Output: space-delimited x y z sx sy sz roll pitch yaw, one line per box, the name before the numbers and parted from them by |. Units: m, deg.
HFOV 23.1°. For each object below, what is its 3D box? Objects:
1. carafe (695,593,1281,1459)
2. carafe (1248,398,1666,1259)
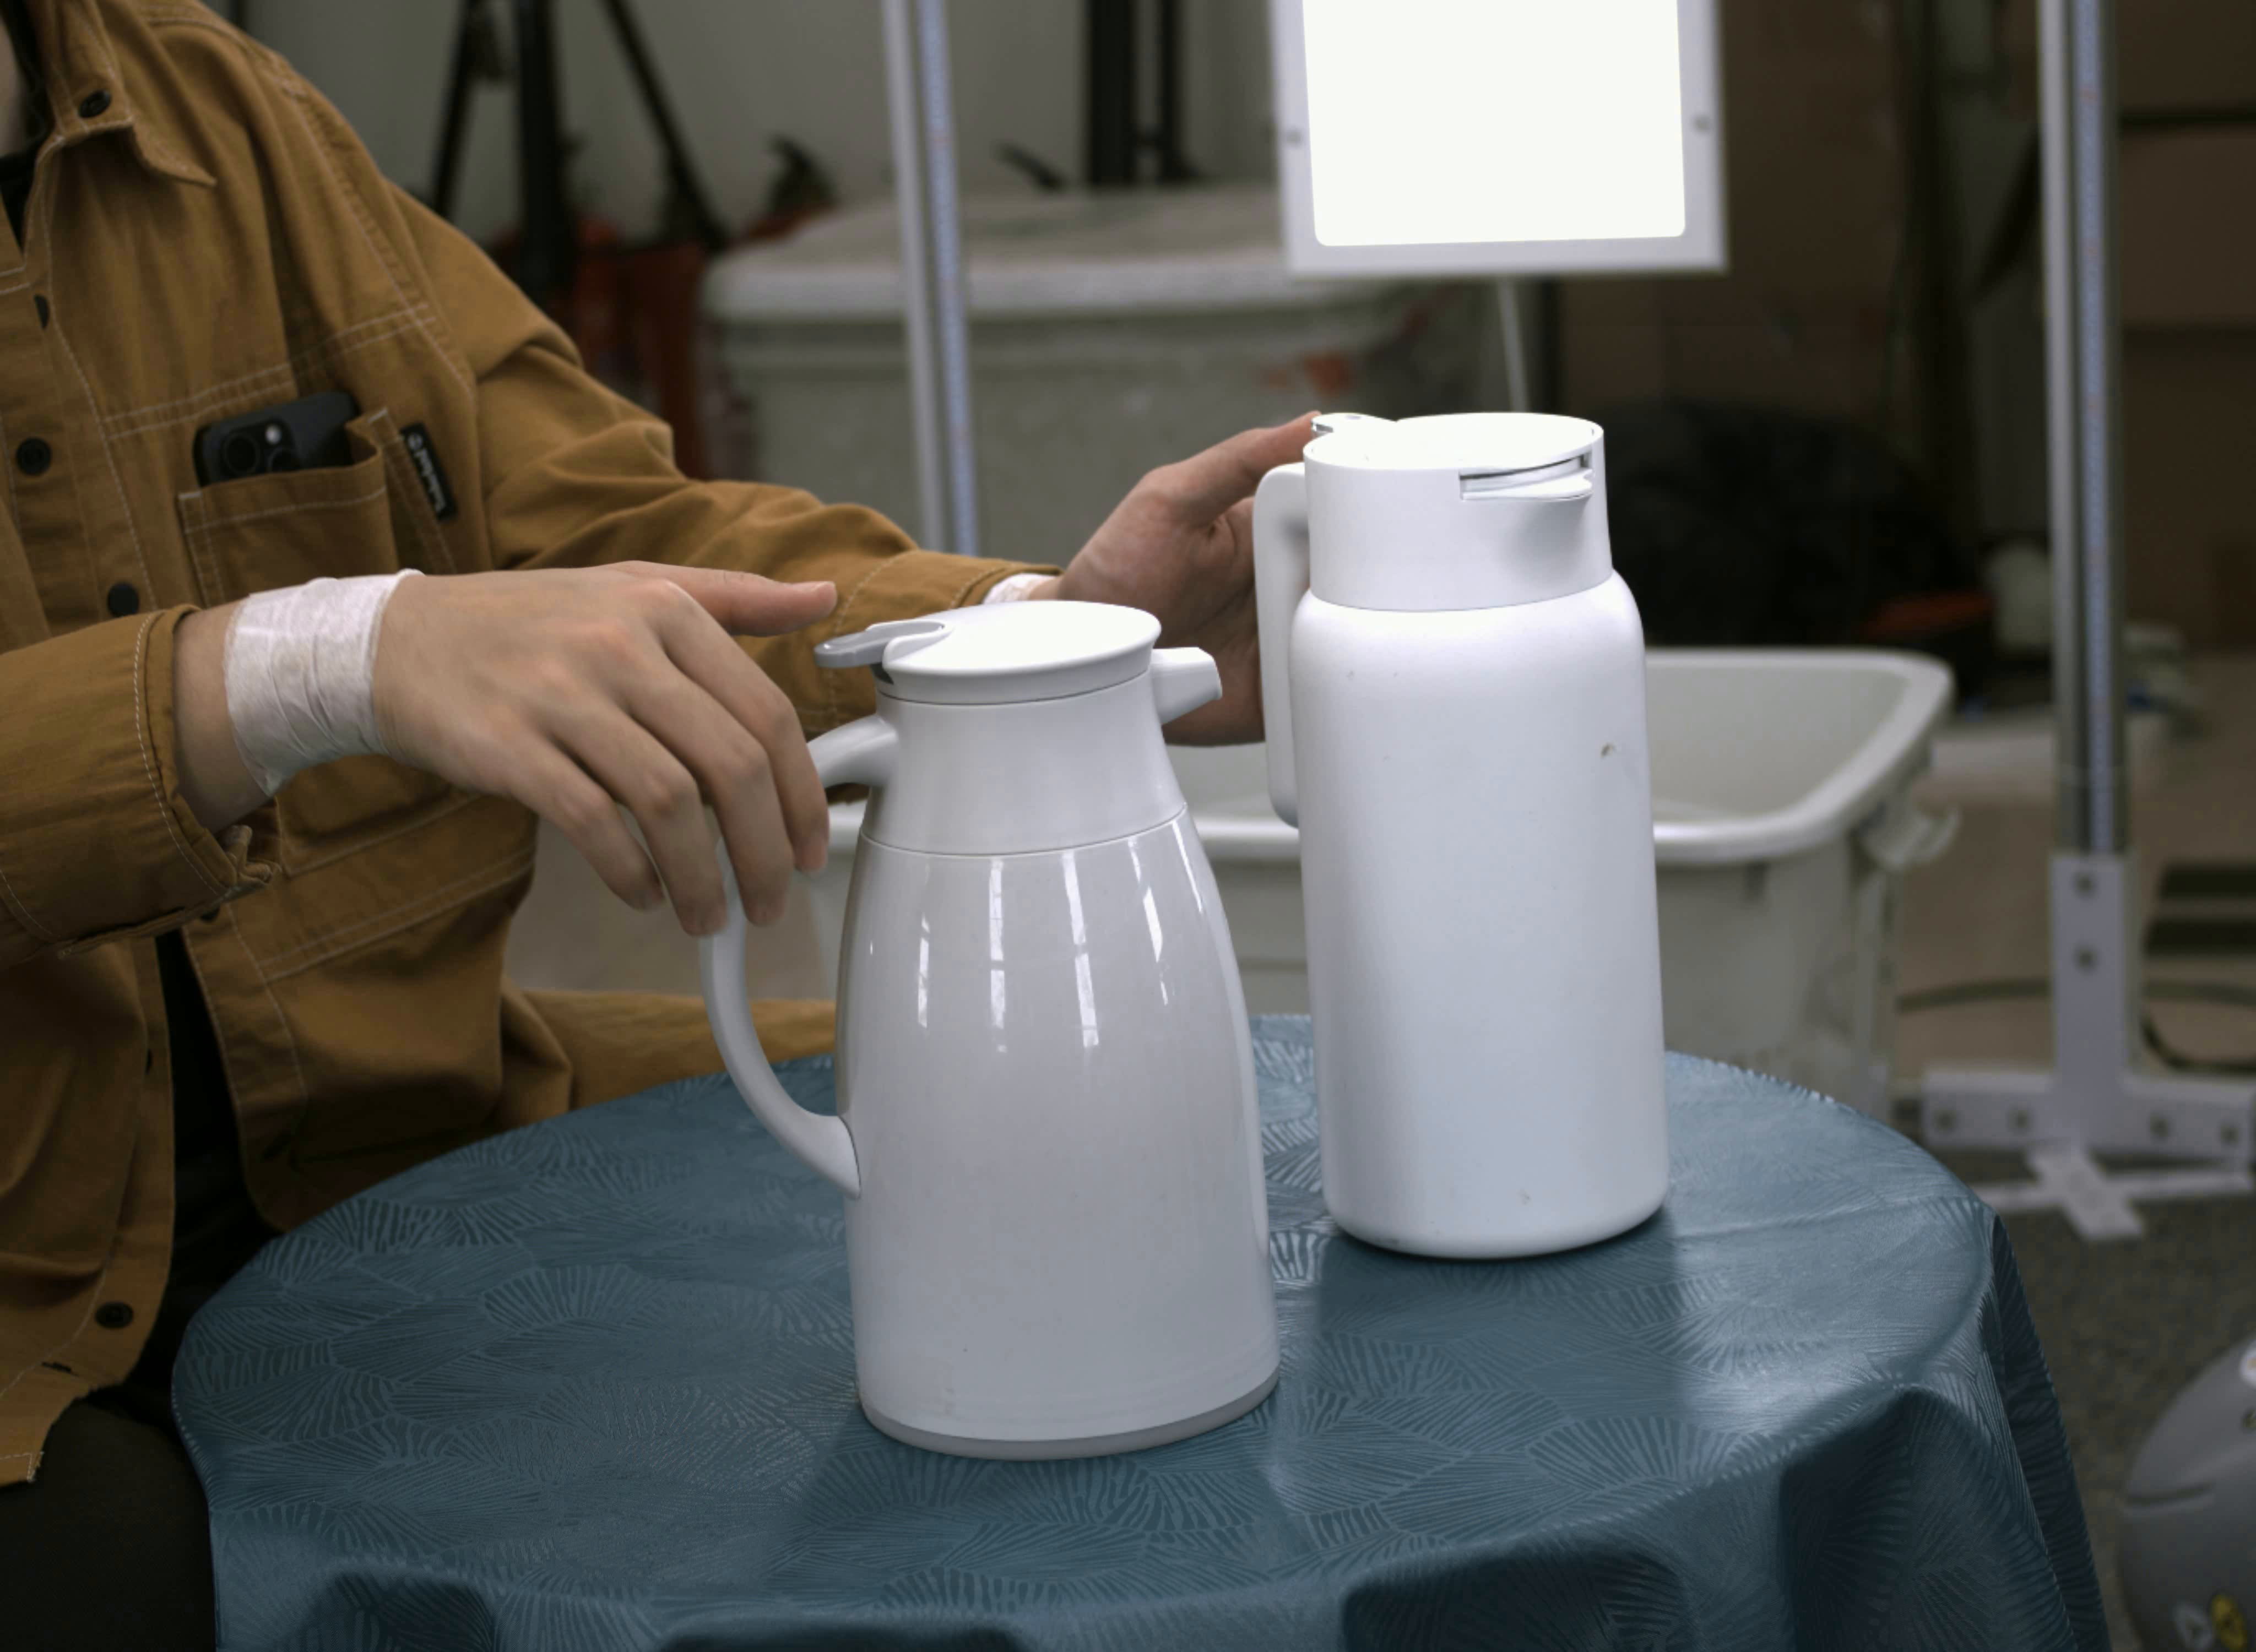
carafe | -0.046 0.057 1.676 0.165 0.249 0.134 -9 14 -13
carafe | 0.103 -0.002 1.822 0.121 0.270 0.176 -15 17 -29
